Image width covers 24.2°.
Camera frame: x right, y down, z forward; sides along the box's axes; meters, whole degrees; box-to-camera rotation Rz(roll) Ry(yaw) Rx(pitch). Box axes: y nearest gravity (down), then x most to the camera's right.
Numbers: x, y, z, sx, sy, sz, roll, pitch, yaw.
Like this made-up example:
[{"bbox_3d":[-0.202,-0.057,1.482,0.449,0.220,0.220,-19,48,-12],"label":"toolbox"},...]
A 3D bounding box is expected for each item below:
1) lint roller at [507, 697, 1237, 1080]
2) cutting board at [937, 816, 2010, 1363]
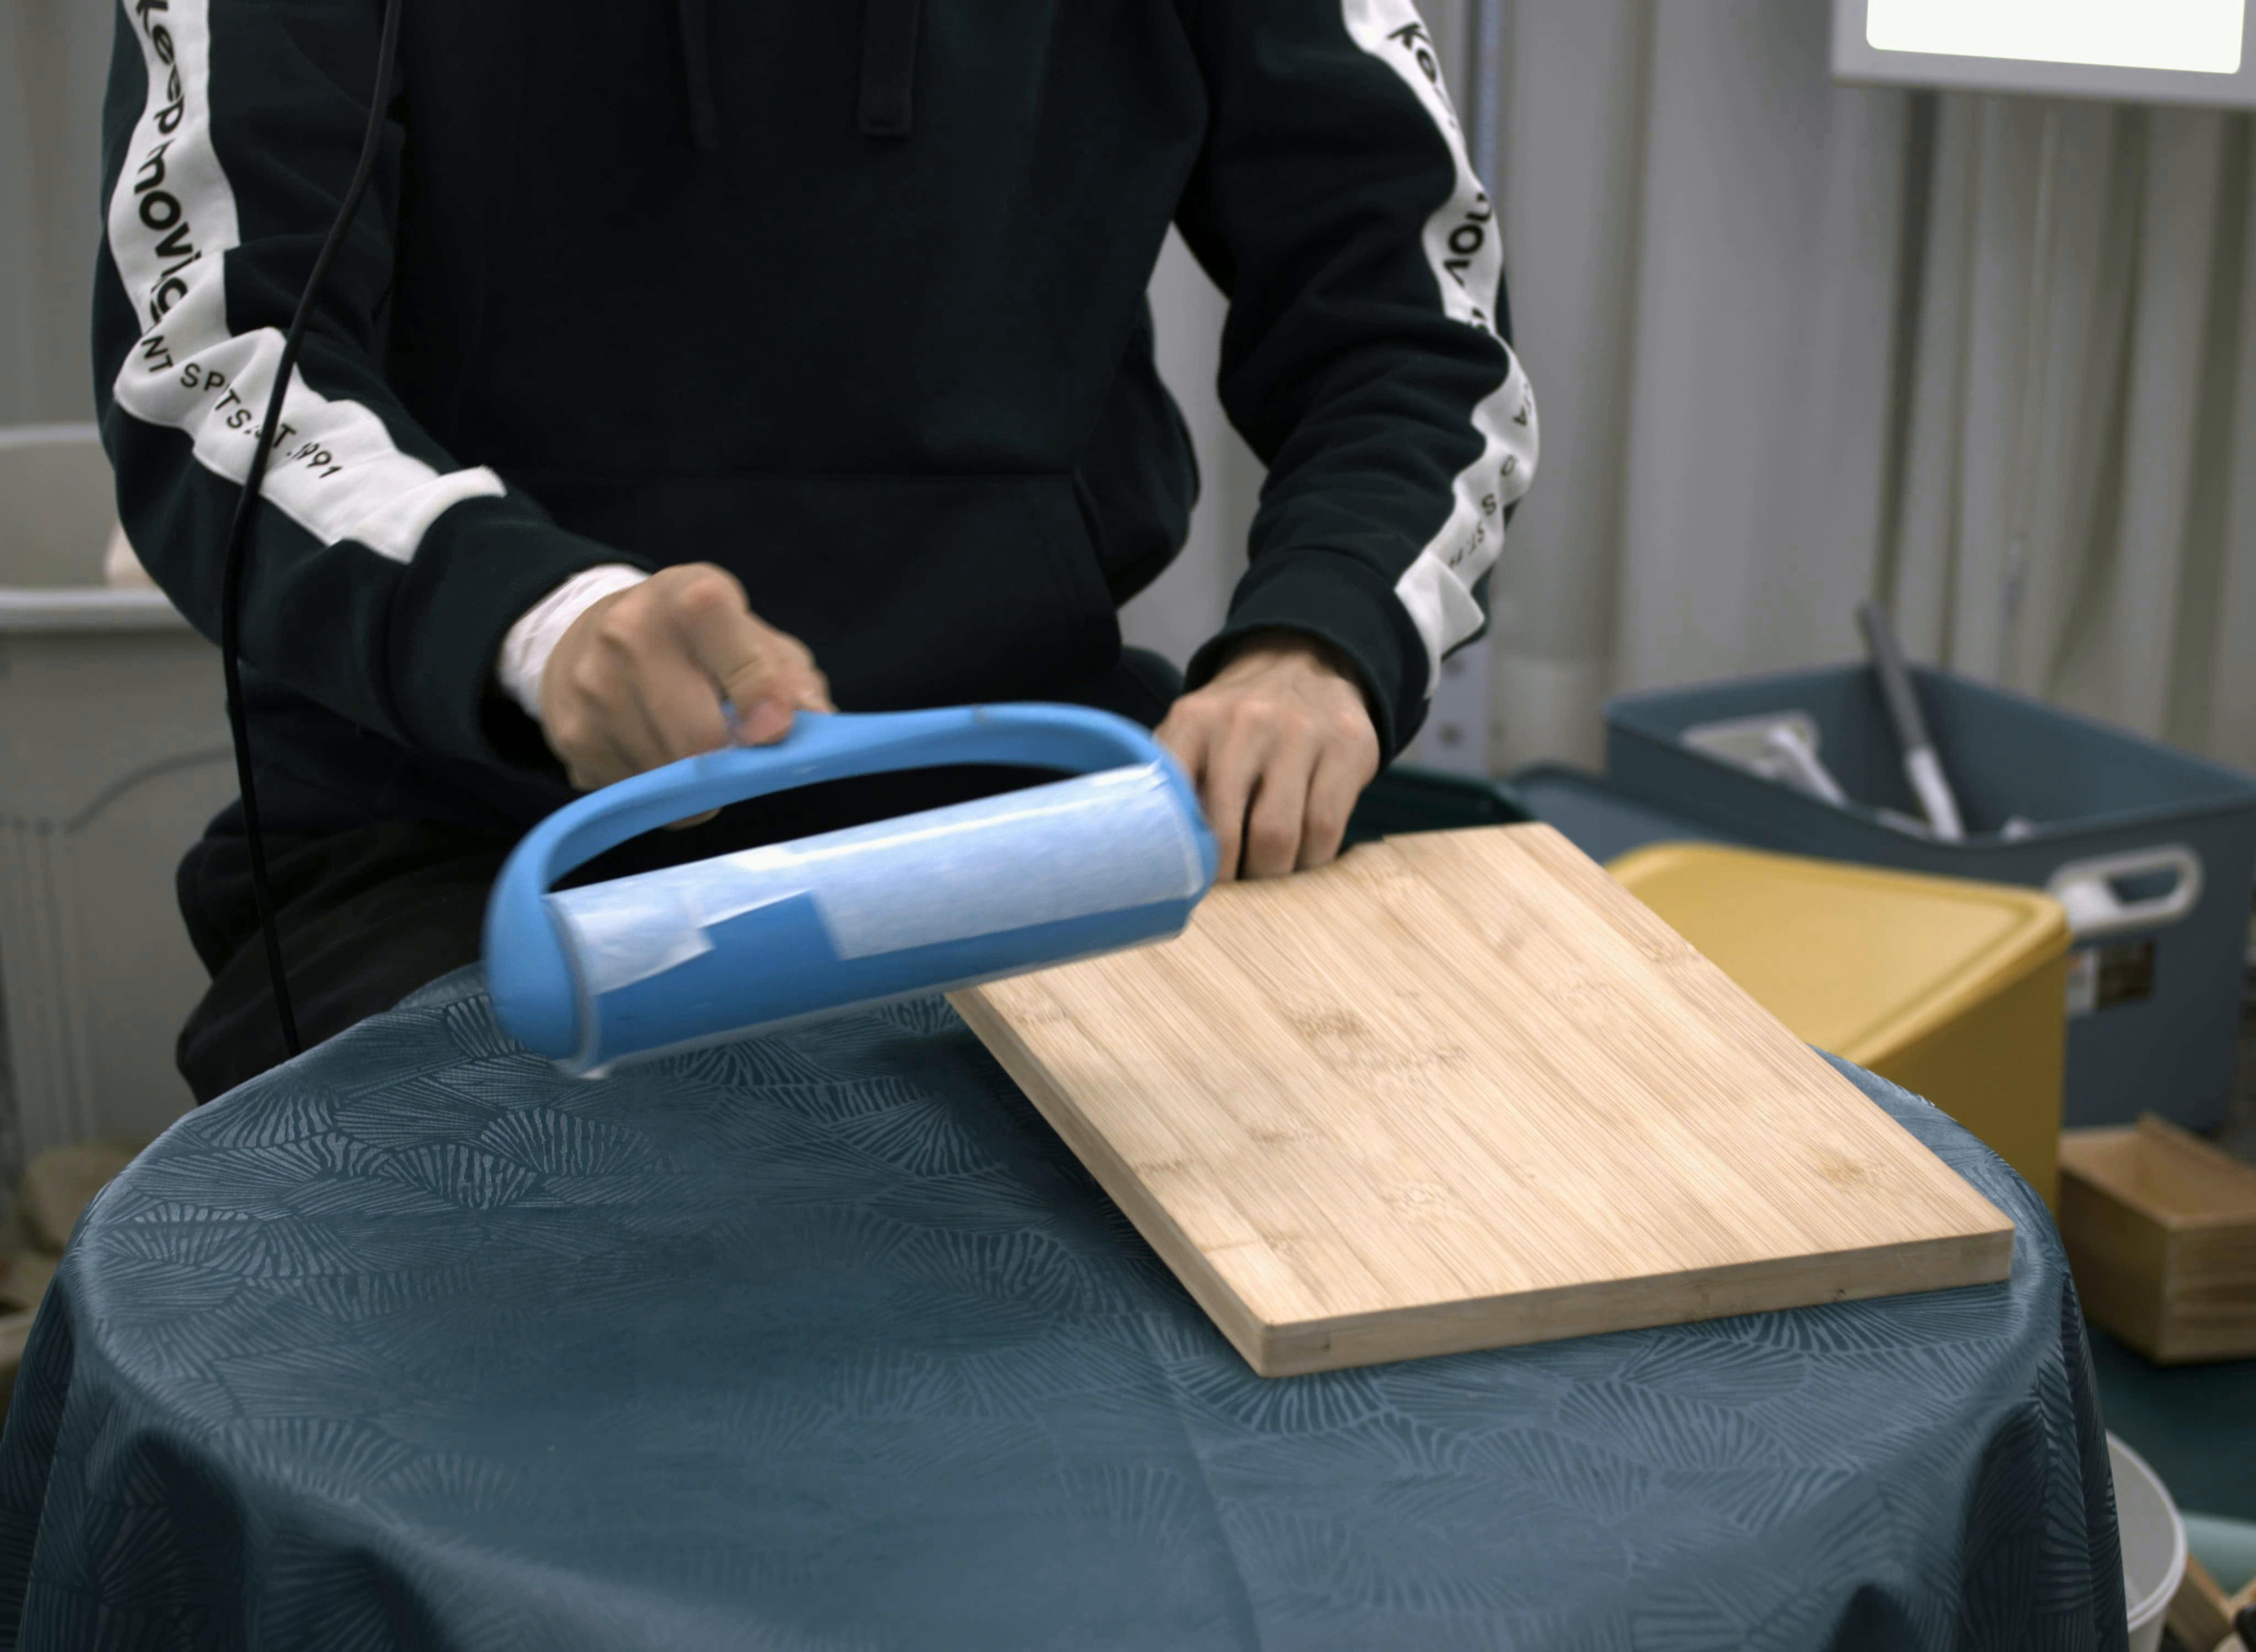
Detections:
[{"bbox_3d":[-0.101,-0.004,1.569,0.229,0.068,0.177,-16,37,-27],"label":"lint roller"},{"bbox_3d":[0.089,0.076,1.658,0.251,0.024,0.344,-5,23,-21],"label":"cutting board"}]
